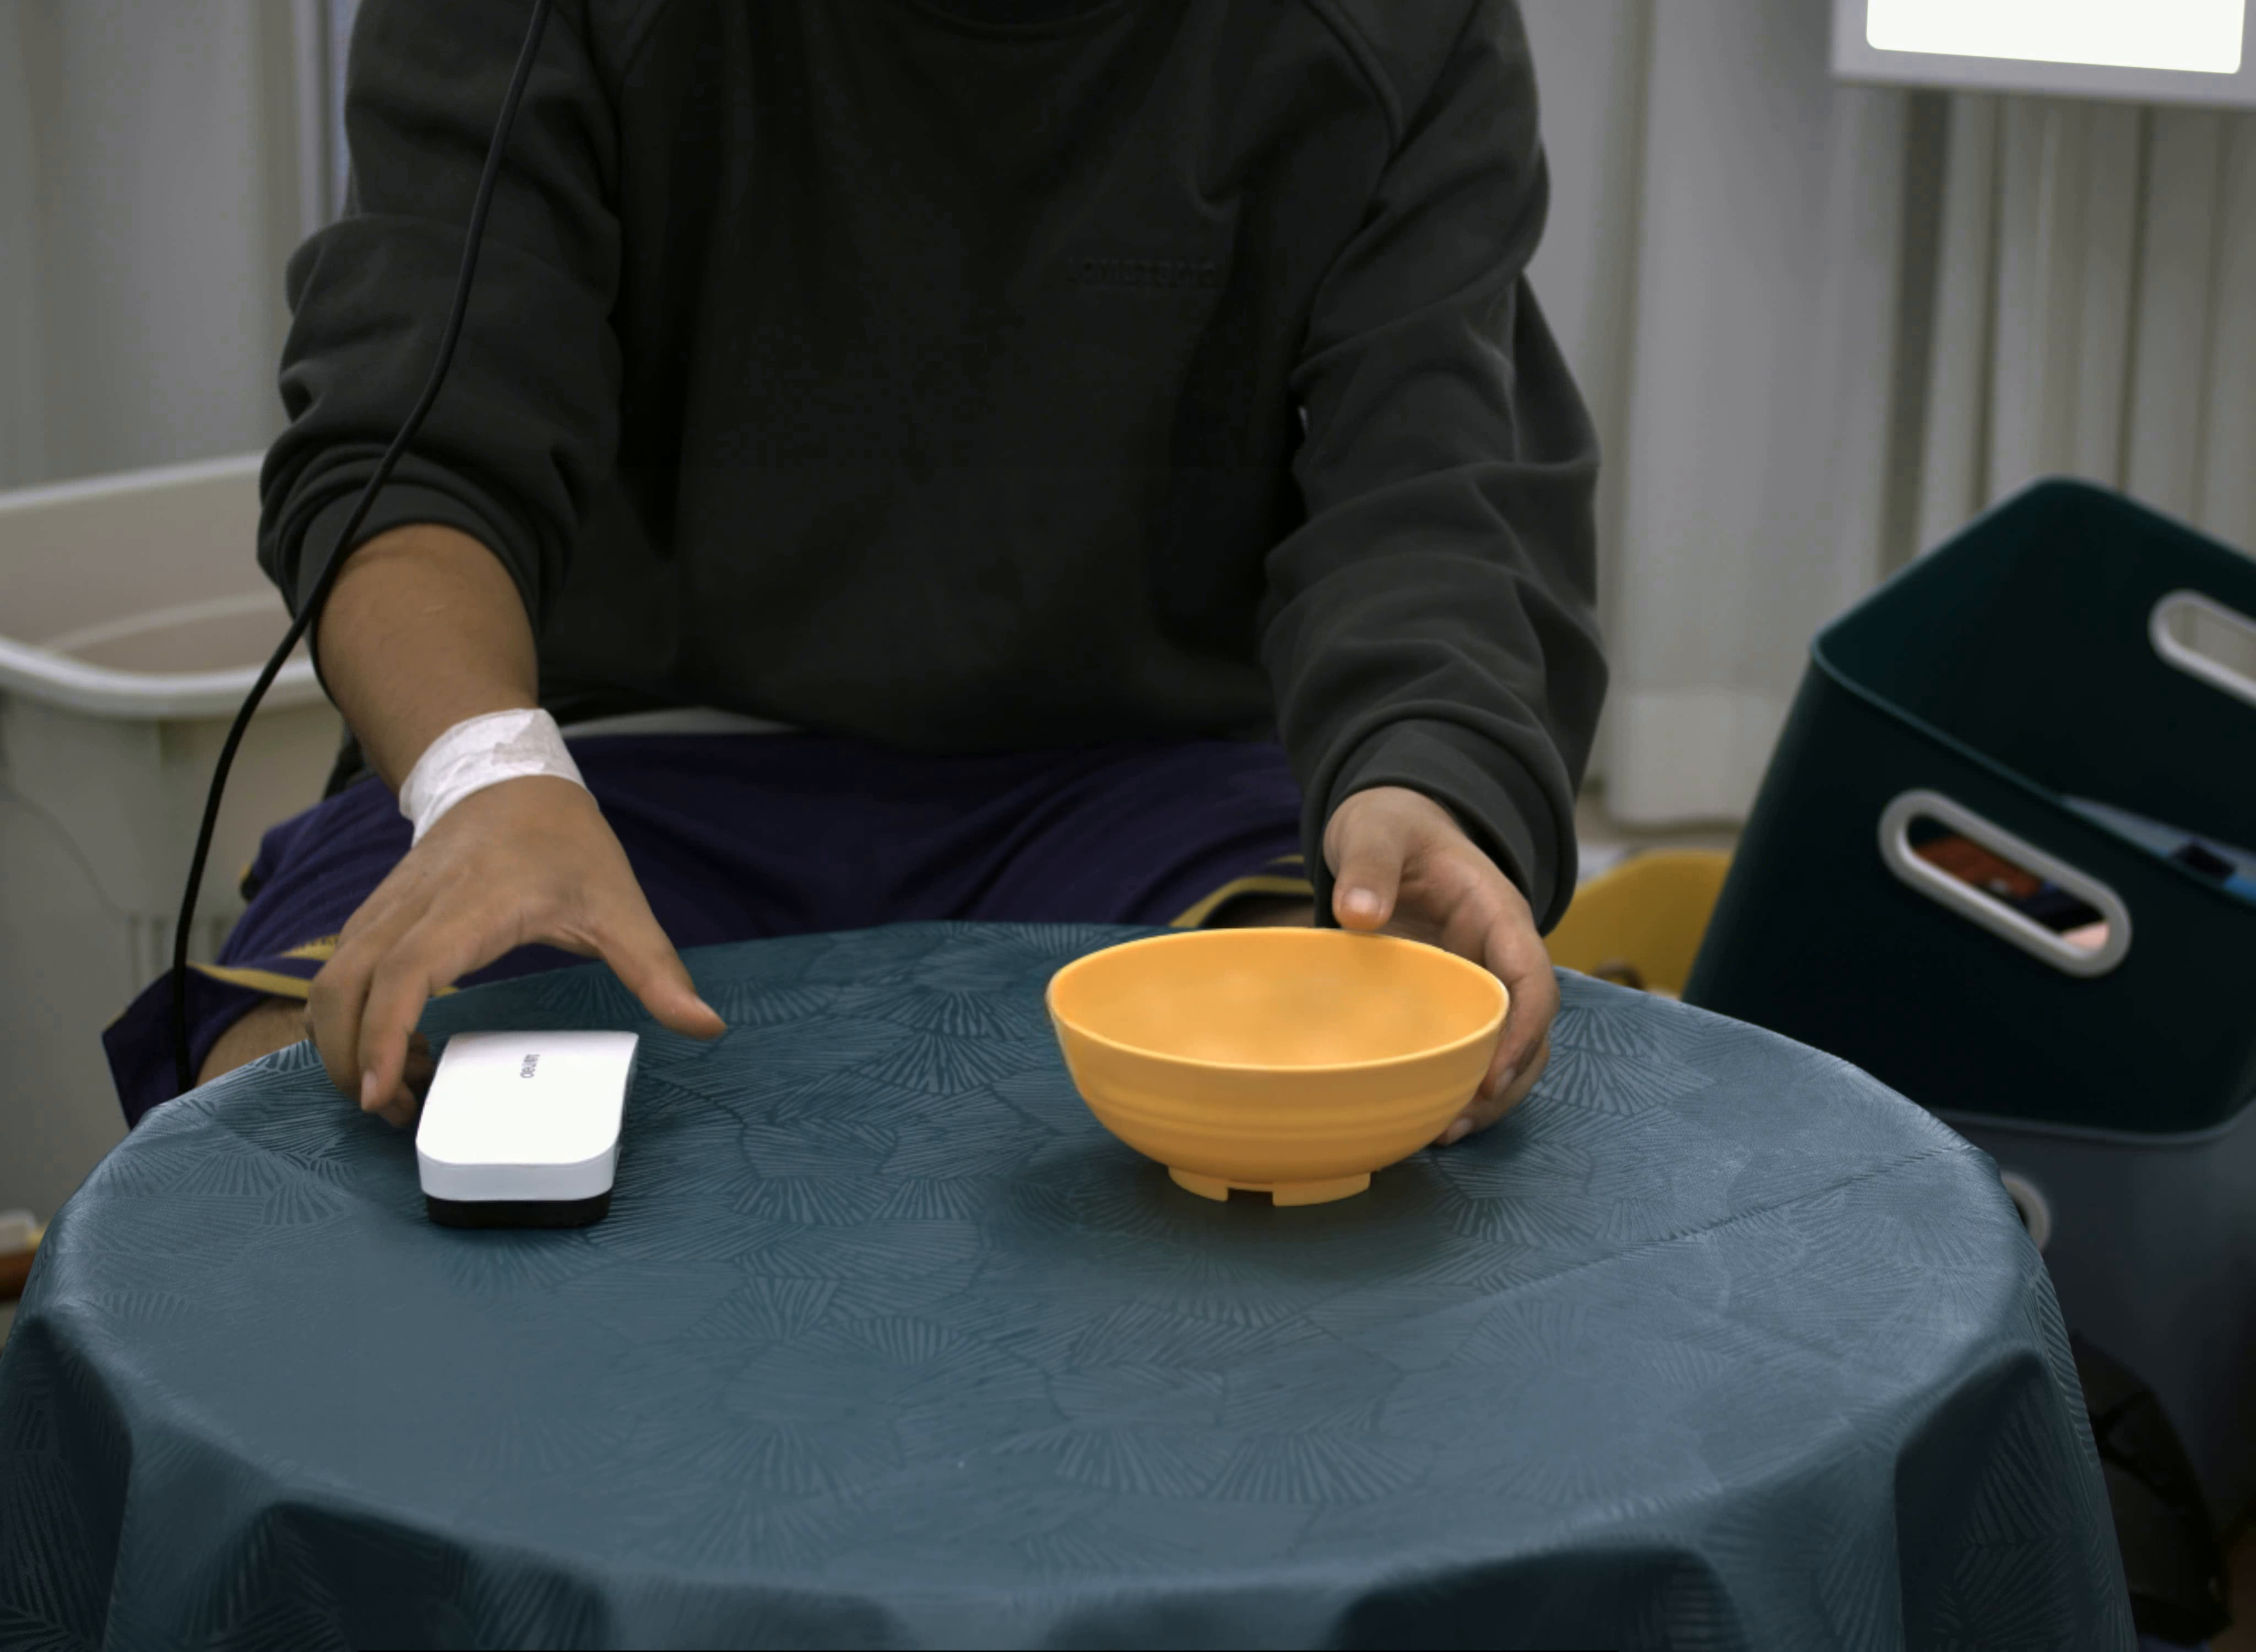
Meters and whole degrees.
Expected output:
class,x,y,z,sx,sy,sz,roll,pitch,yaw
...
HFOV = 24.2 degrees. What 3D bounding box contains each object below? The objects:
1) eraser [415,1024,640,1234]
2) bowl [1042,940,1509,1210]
class,x,y,z,sx,sy,sz,roll,pitch,yaw
eraser,-0.185,0.090,1.638,0.063,0.035,0.130,1,17,-1
bowl,0.045,0.082,1.633,0.145,0.060,0.144,1,13,0
